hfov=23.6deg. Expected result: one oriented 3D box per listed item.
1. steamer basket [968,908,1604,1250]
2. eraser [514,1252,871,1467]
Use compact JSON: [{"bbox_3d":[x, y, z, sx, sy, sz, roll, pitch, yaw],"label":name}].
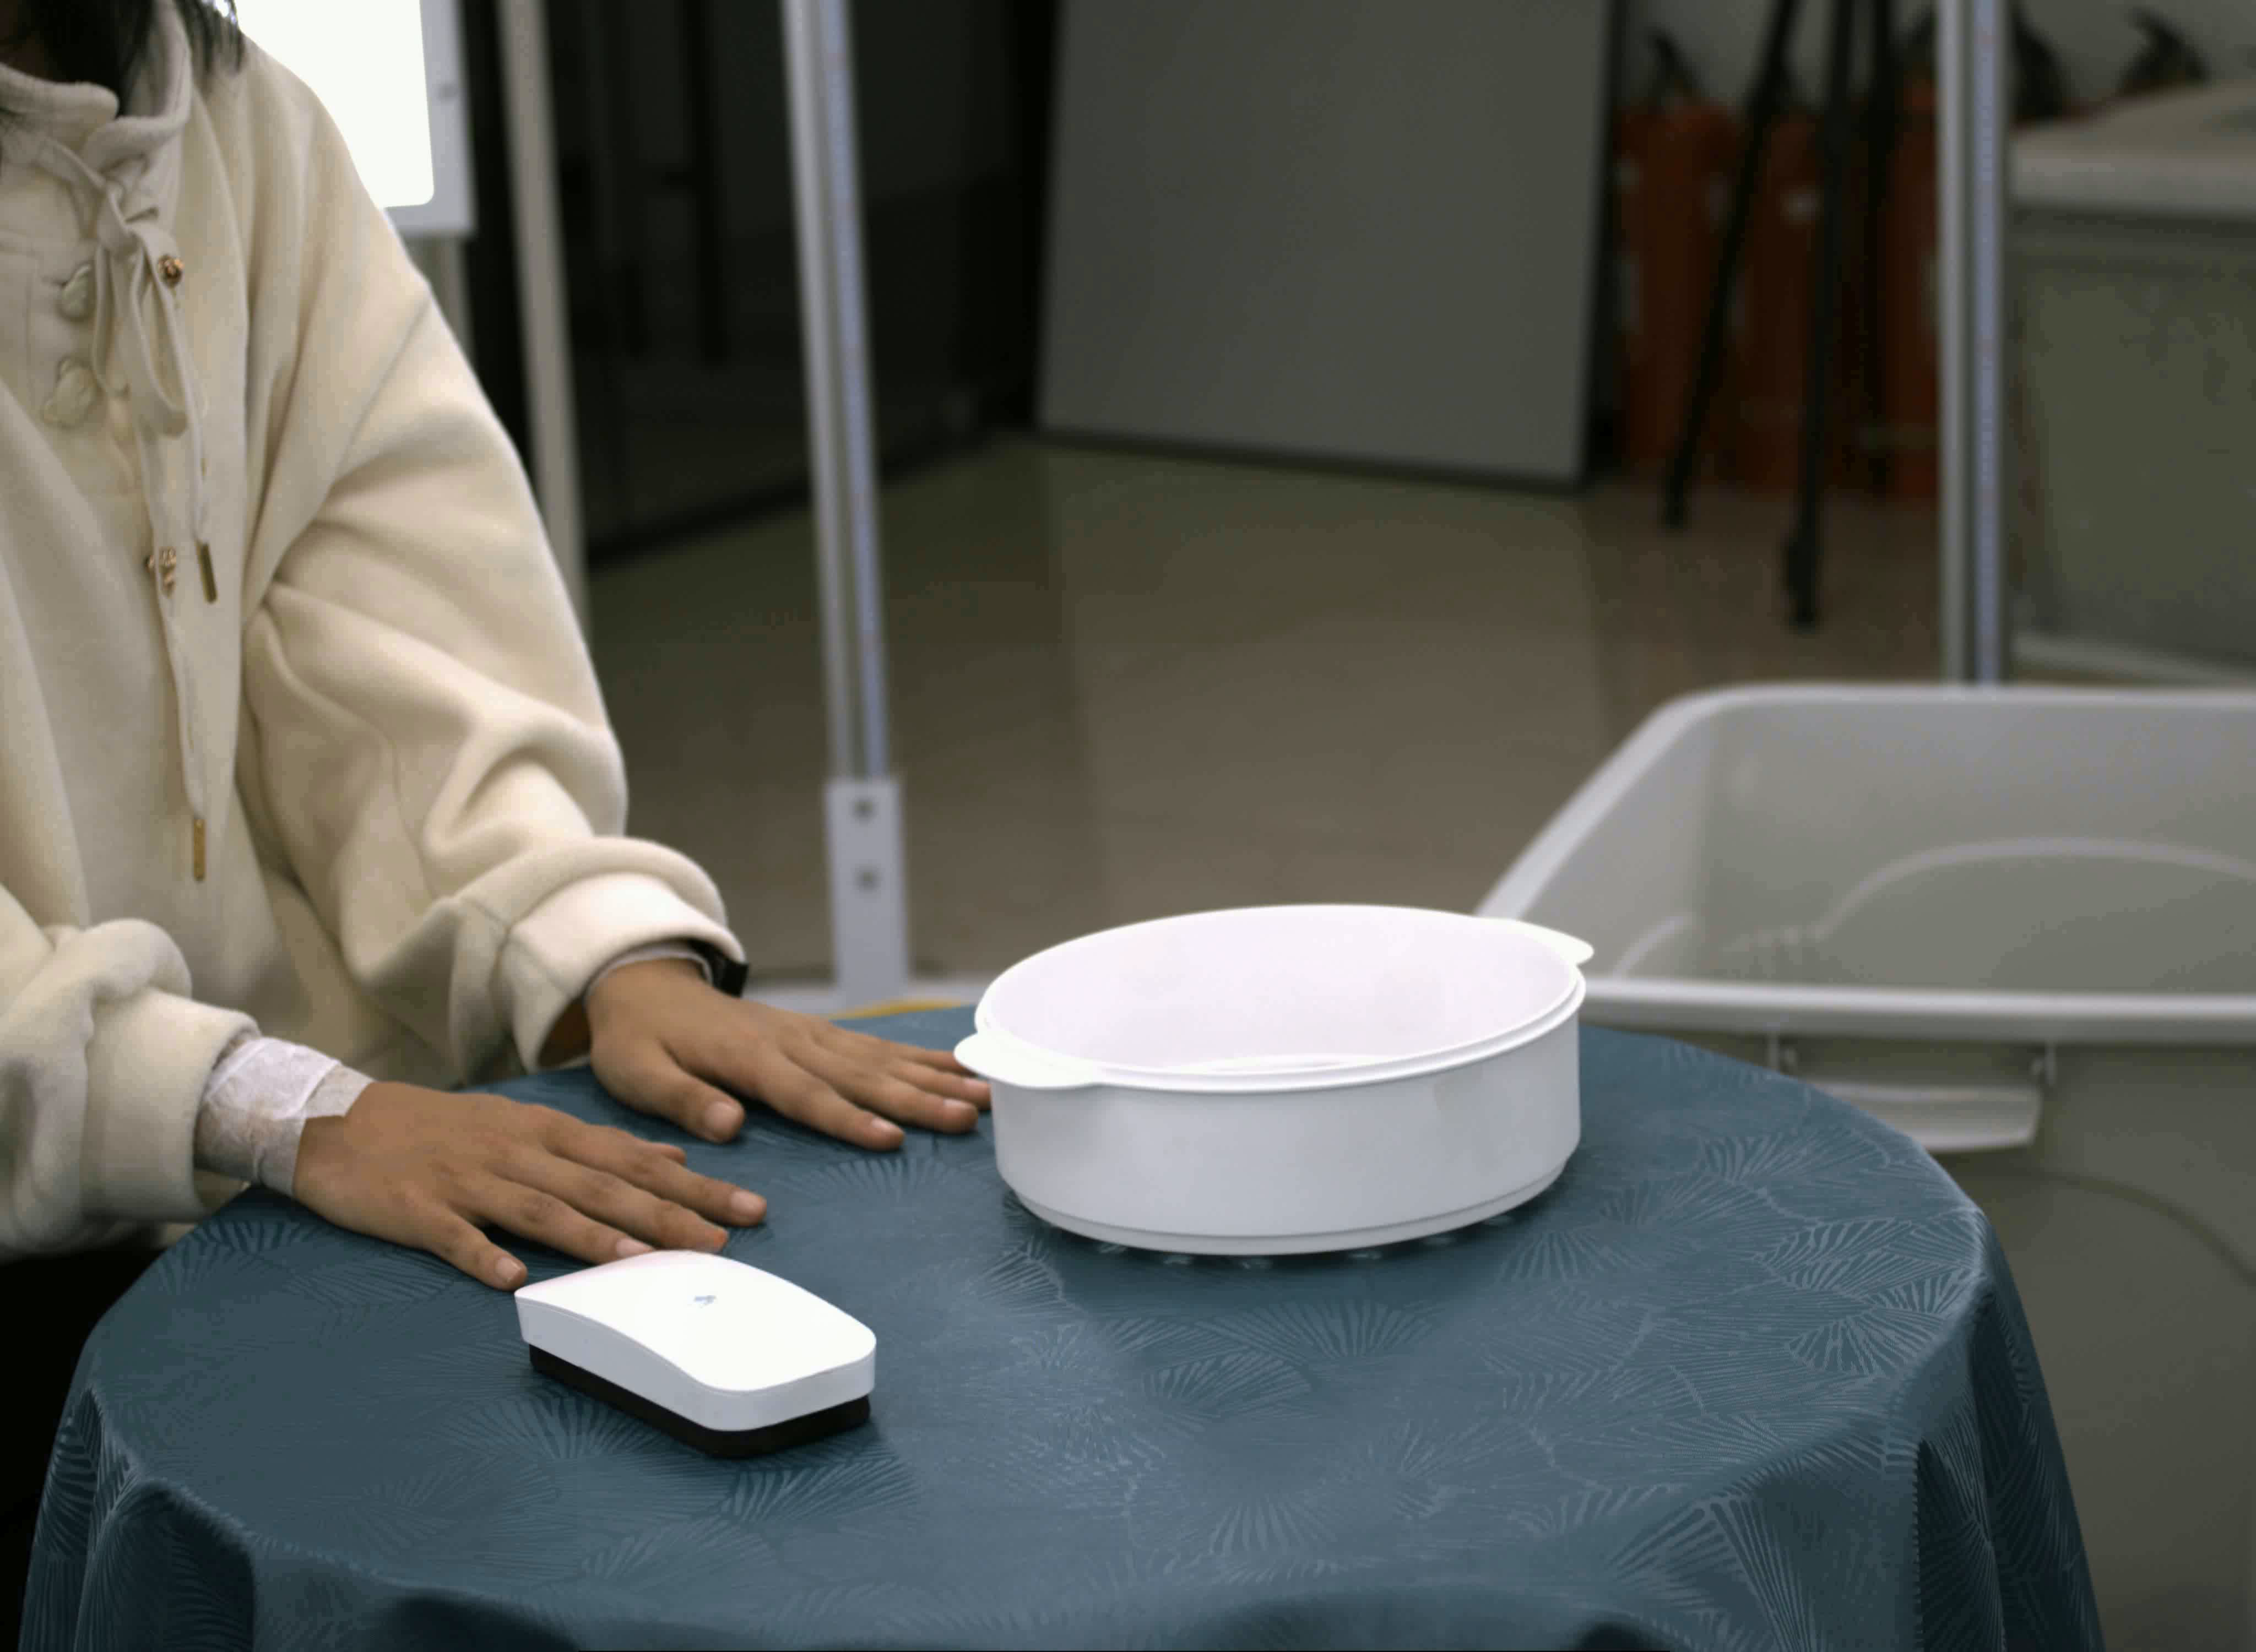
[{"bbox_3d":[0.056,0.083,1.766,0.225,0.070,0.204,-11,15,-30],"label":"steamer basket"},{"bbox_3d":[-0.129,0.155,1.608,0.062,0.035,0.133,-13,17,-32],"label":"eraser"}]
